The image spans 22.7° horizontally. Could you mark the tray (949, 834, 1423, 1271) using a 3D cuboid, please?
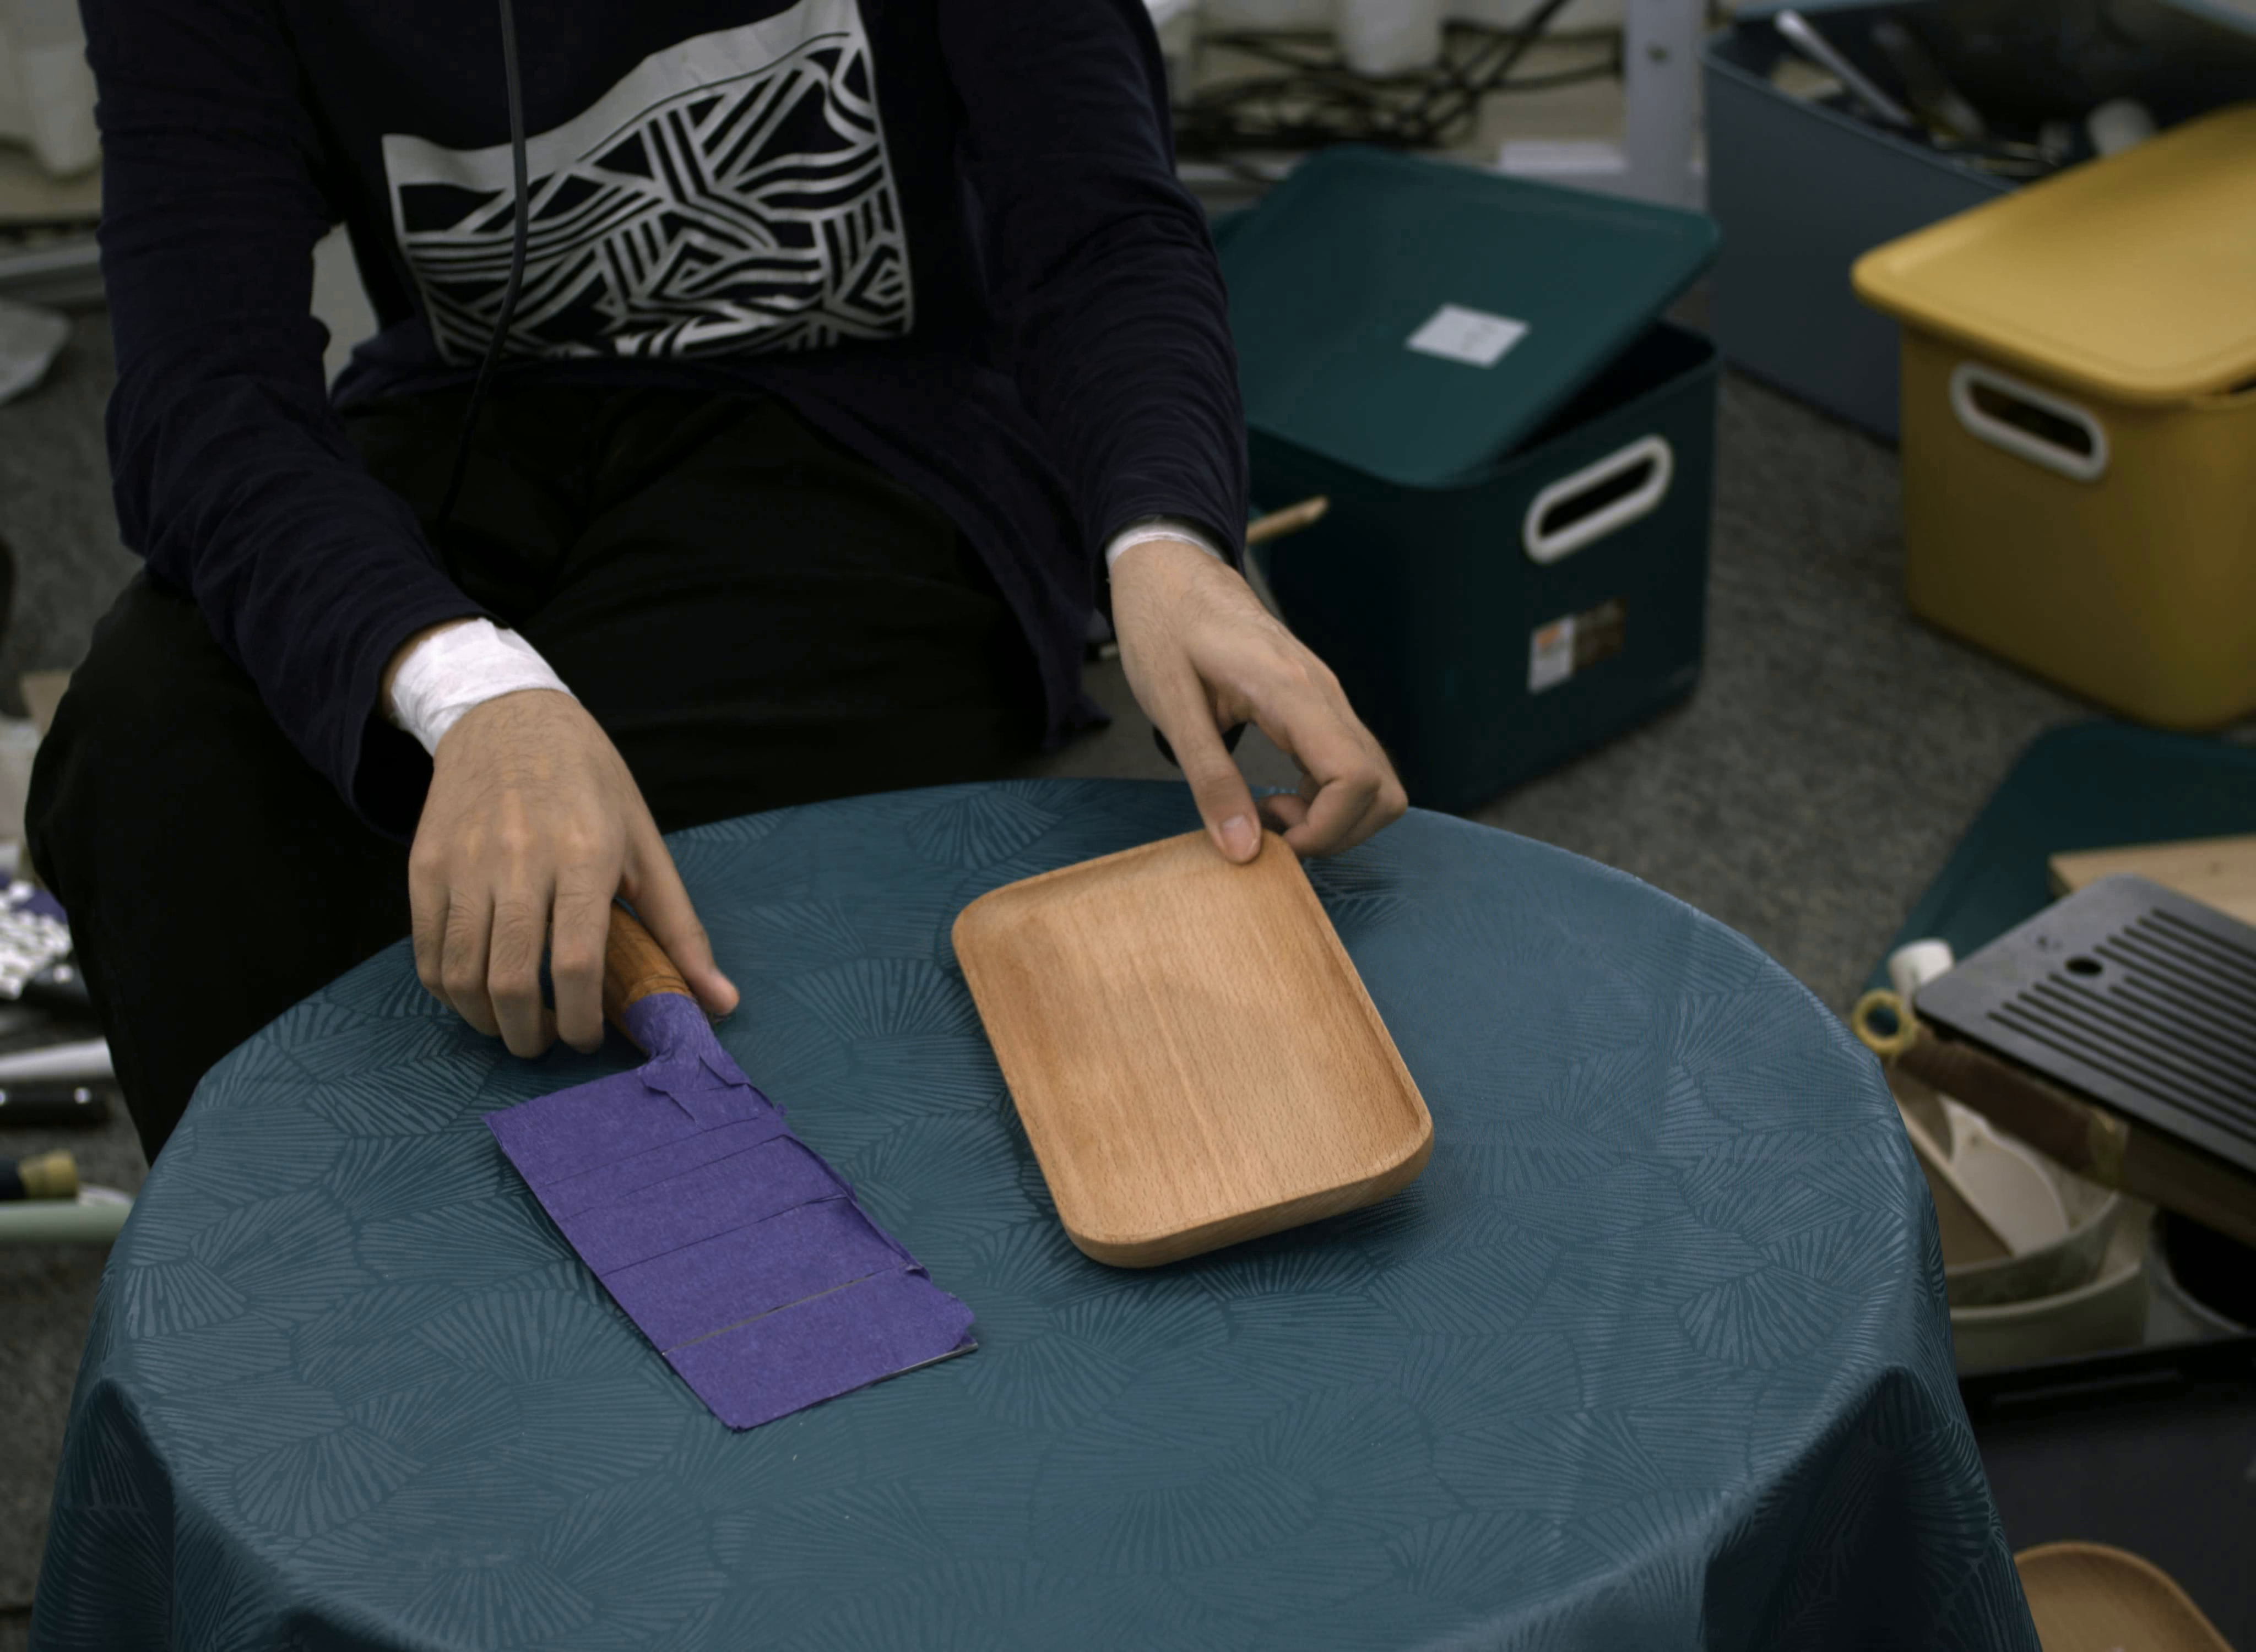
[{"bbox_3d":[0.017,0.075,1.919,0.130,0.022,0.254,-15,29,-3],"label":"tray"}]

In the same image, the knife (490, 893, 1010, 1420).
[{"bbox_3d":[-0.155,0.106,1.877,0.104,0.032,0.317,-16,30,-24],"label":"knife"}]
